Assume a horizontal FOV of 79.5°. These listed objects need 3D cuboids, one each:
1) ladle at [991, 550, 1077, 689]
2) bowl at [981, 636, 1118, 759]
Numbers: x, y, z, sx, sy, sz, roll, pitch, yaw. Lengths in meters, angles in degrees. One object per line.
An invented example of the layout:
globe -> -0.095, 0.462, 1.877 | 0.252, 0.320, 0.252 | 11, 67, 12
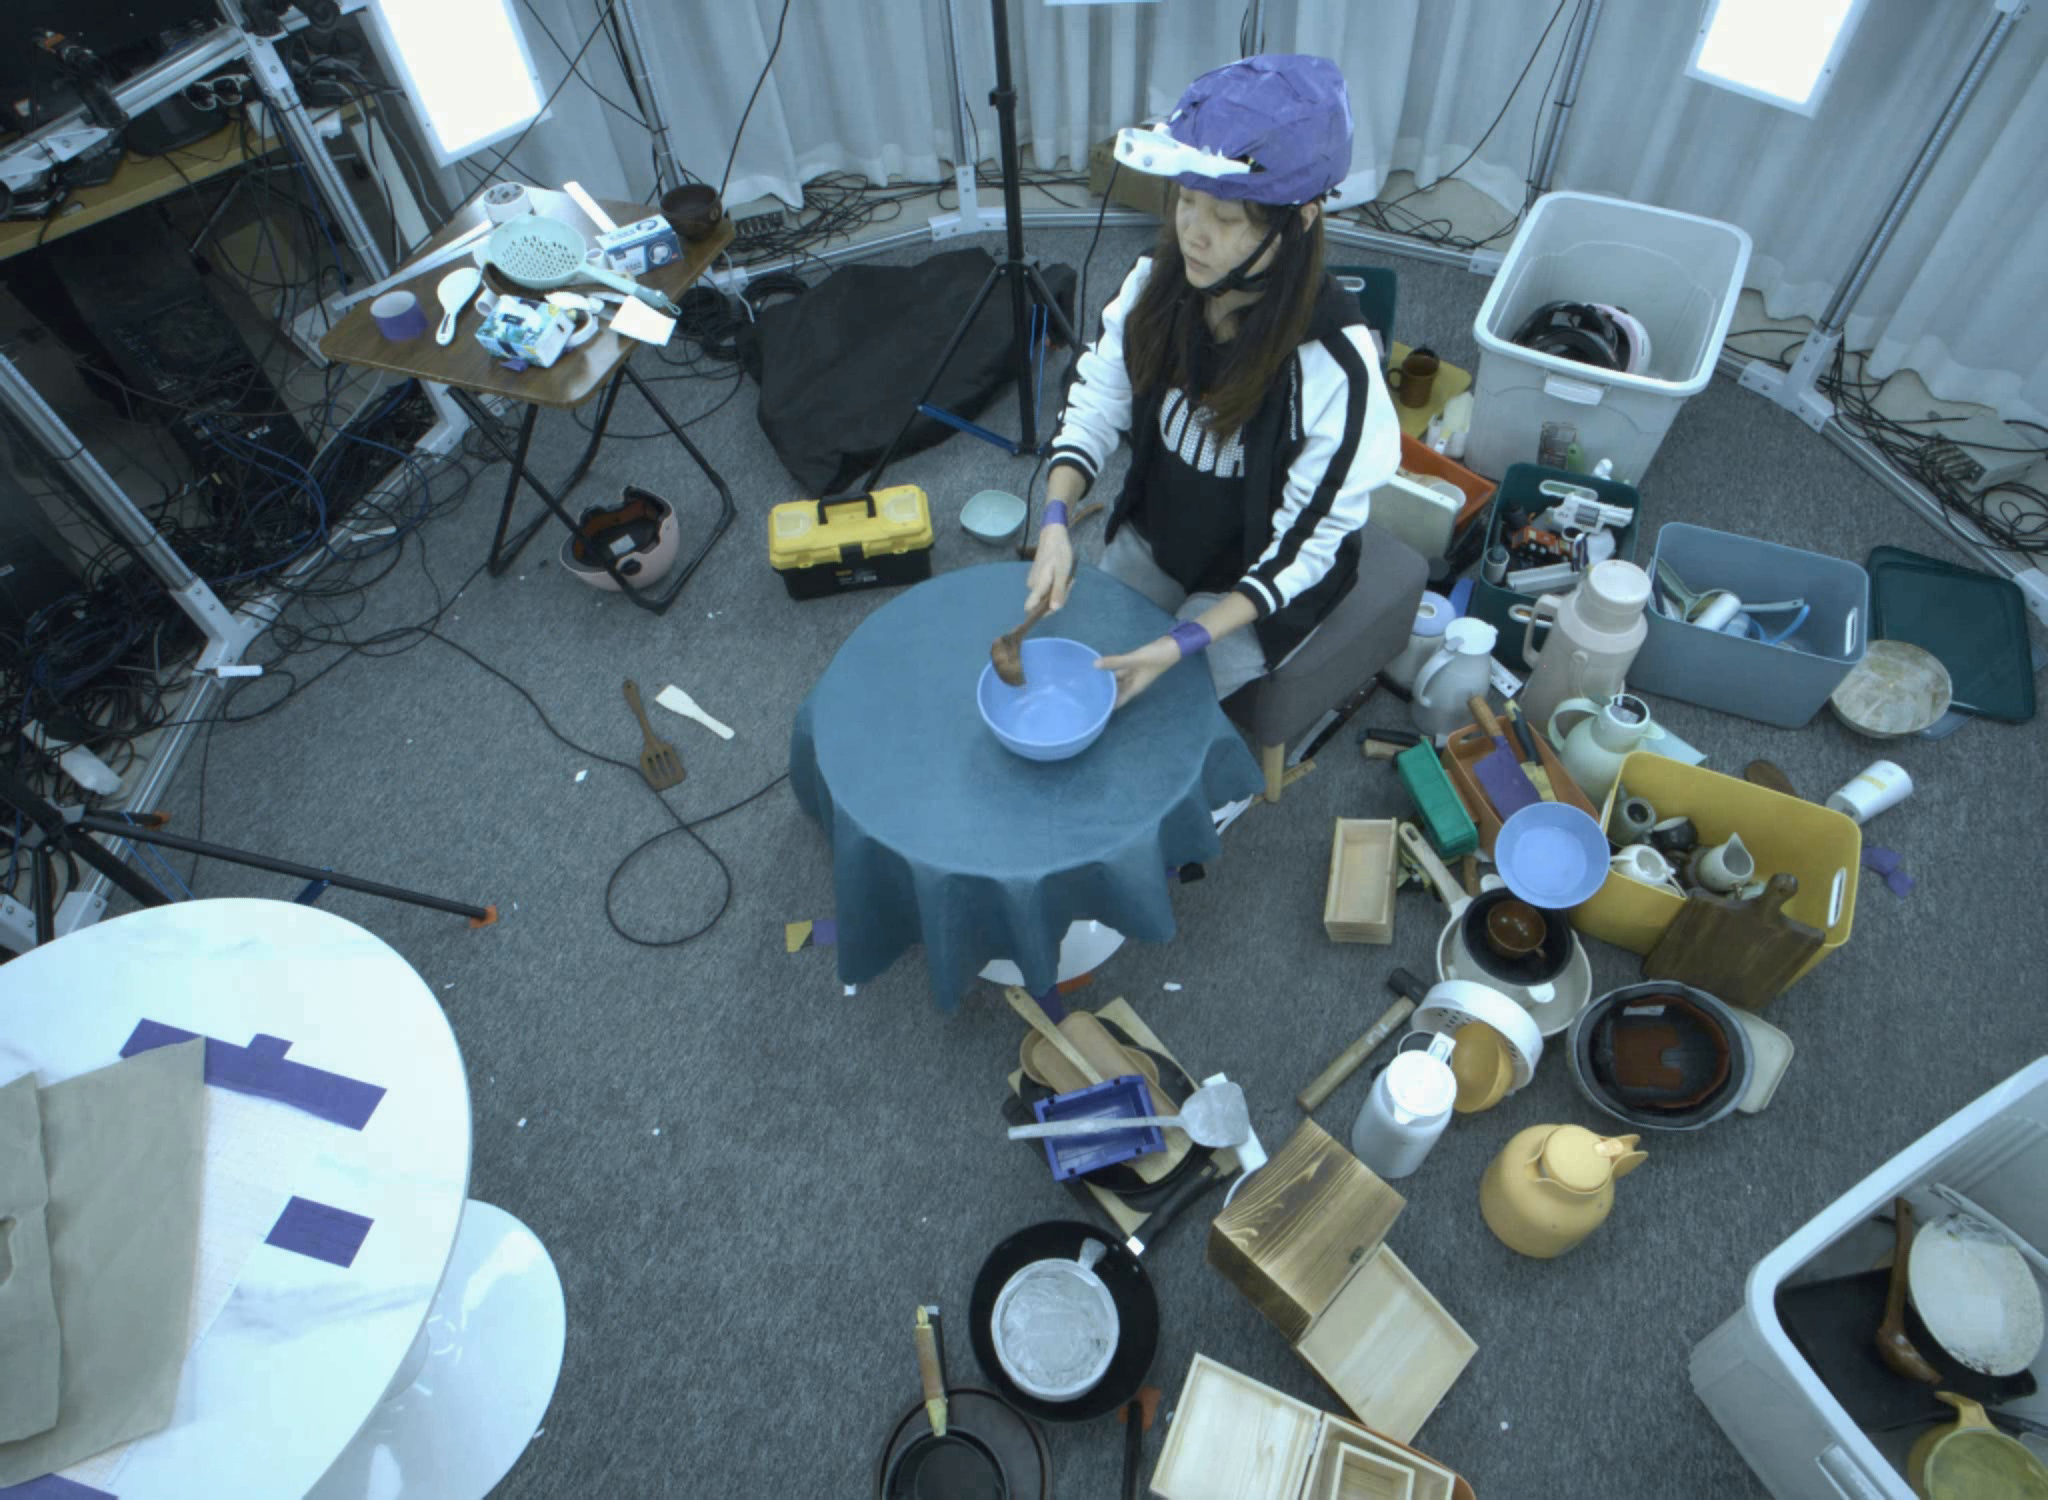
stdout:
ladle -> 0.029, -0.192, 1.746 | 0.064, 0.078, 0.261 | 13, 56, 35
bowl -> 0.043, -0.060, 1.772 | 0.195, 0.097, 0.194 | -4, 53, 7
